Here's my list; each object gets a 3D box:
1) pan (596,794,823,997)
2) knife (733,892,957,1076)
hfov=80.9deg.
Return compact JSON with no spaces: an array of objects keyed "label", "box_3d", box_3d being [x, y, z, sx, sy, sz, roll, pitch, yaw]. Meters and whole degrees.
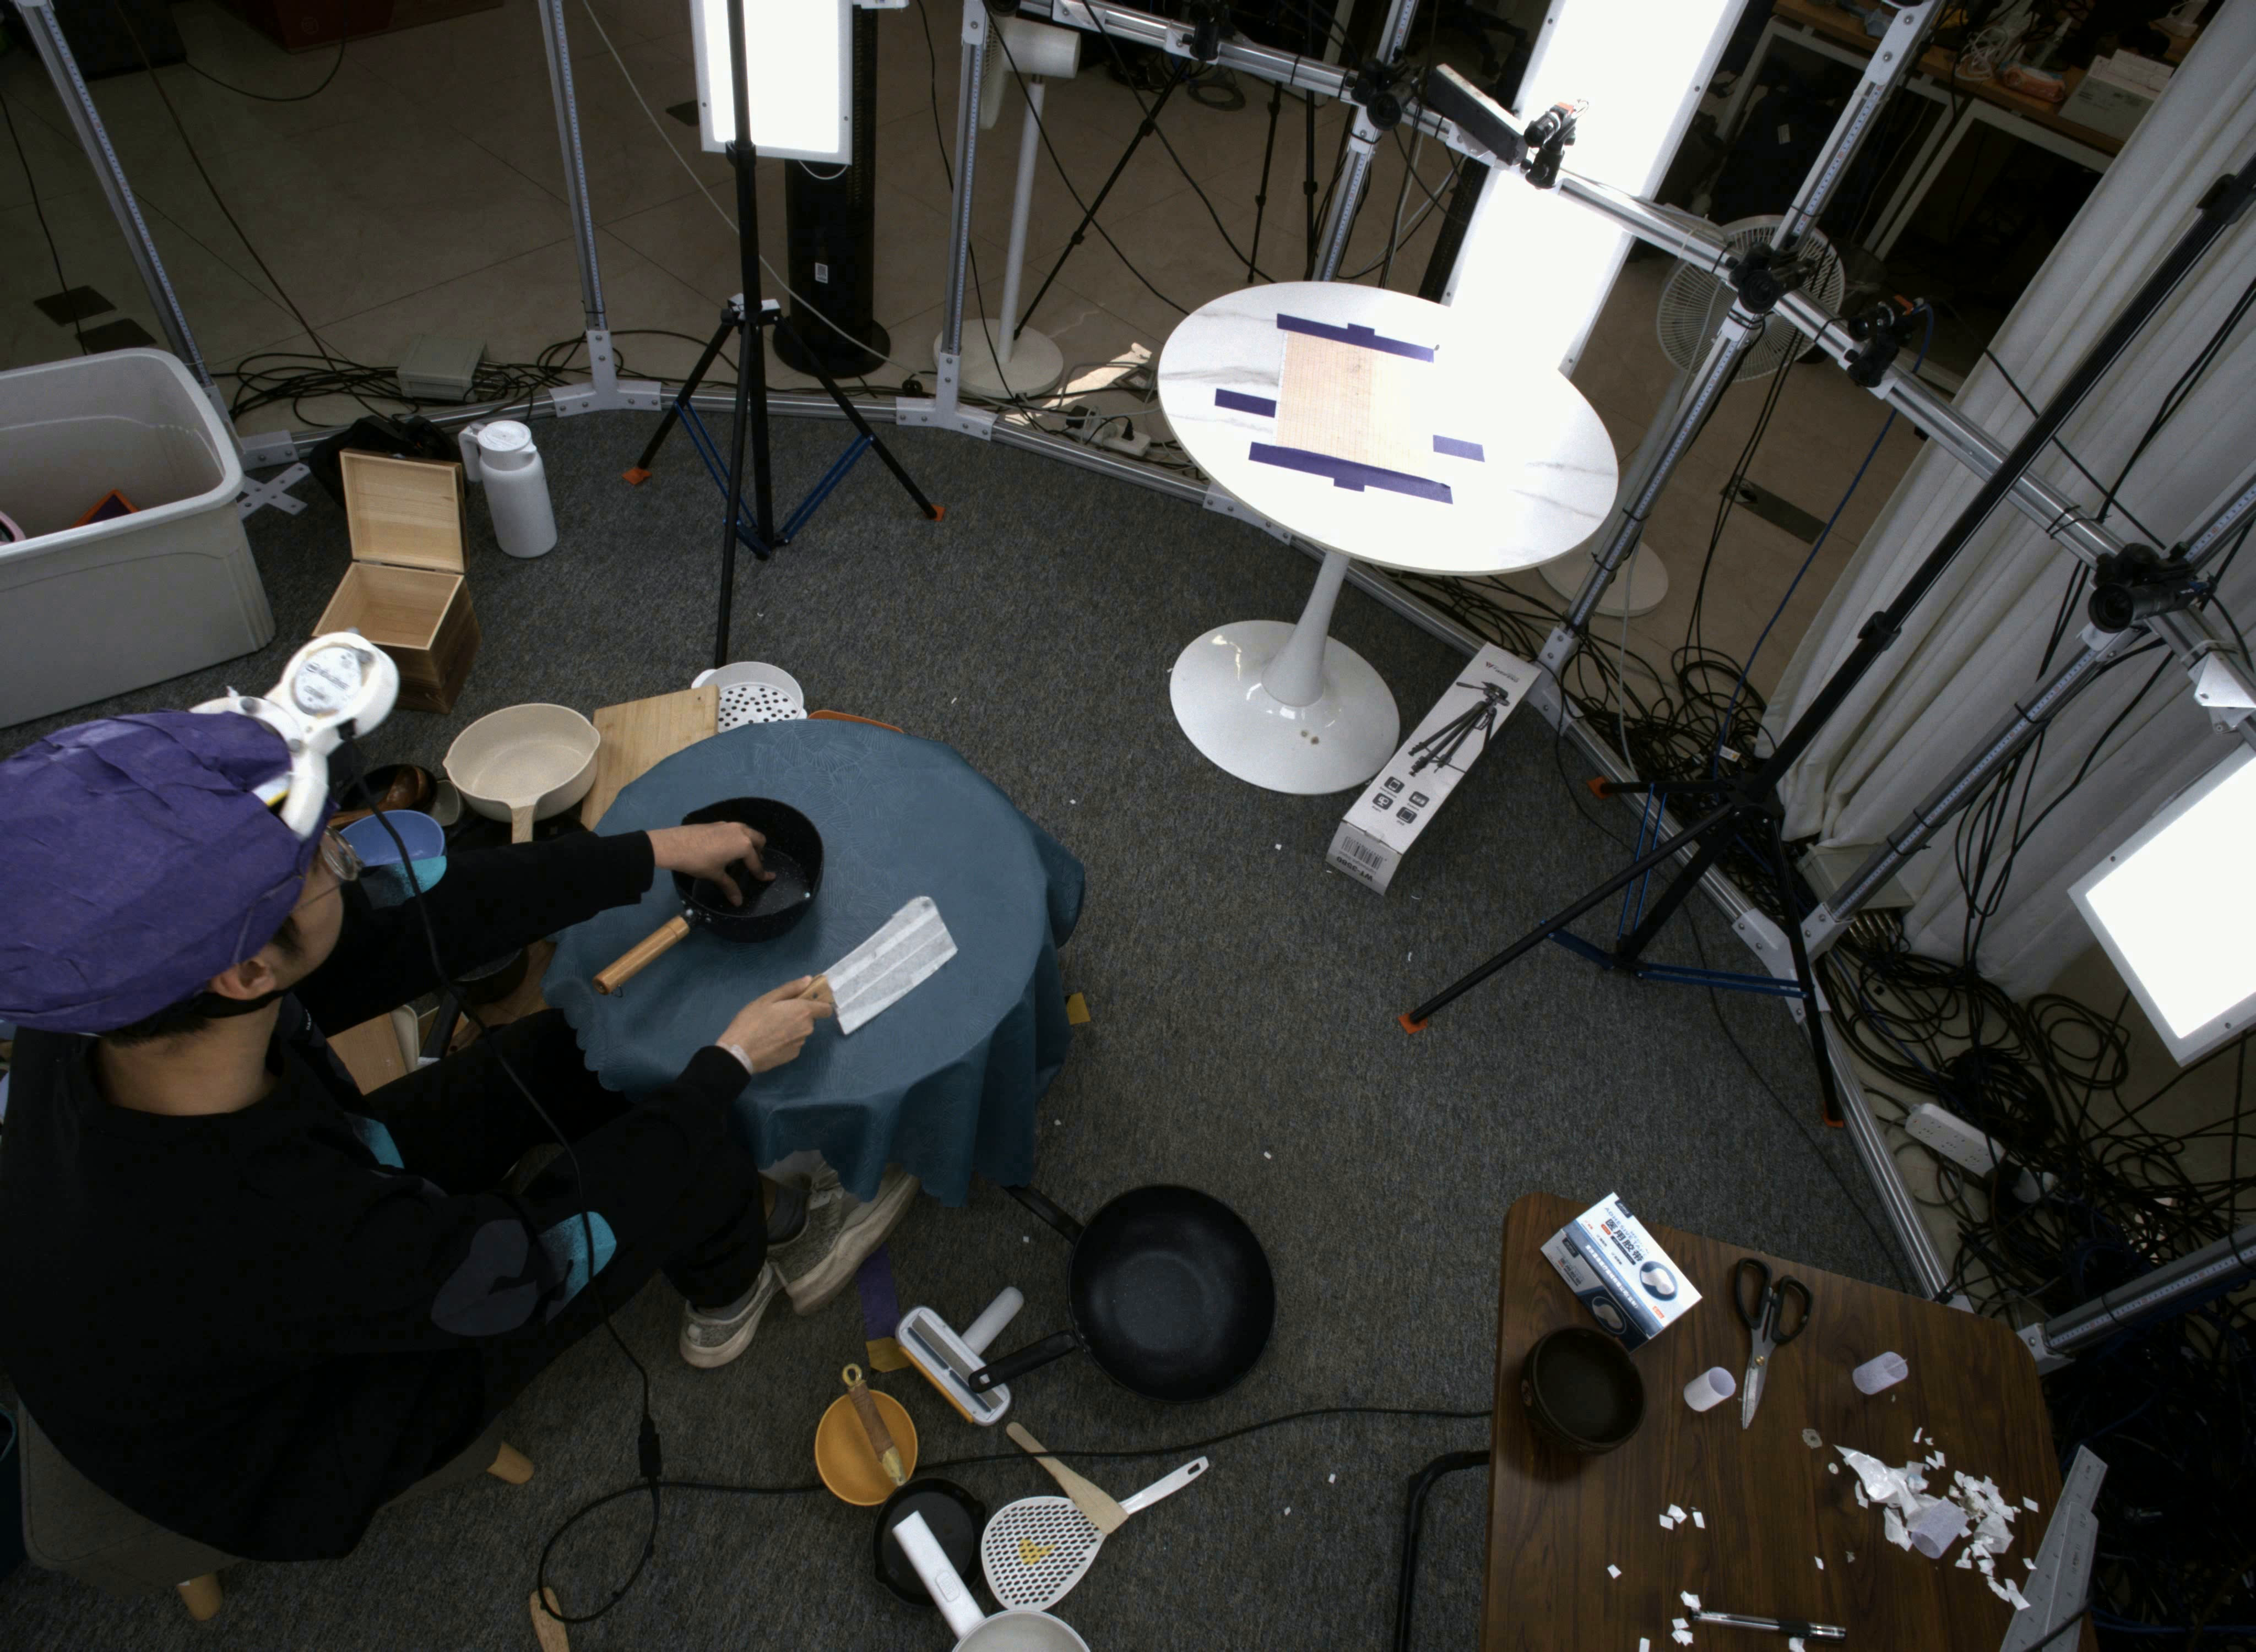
[{"label":"pan","box_3d":[-0.506,0.102,1.544,0.204,0.110,0.341,30,51,8]},{"label":"knife","box_3d":[-0.332,0.189,1.539,0.021,0.117,0.316,3,30,46]}]
